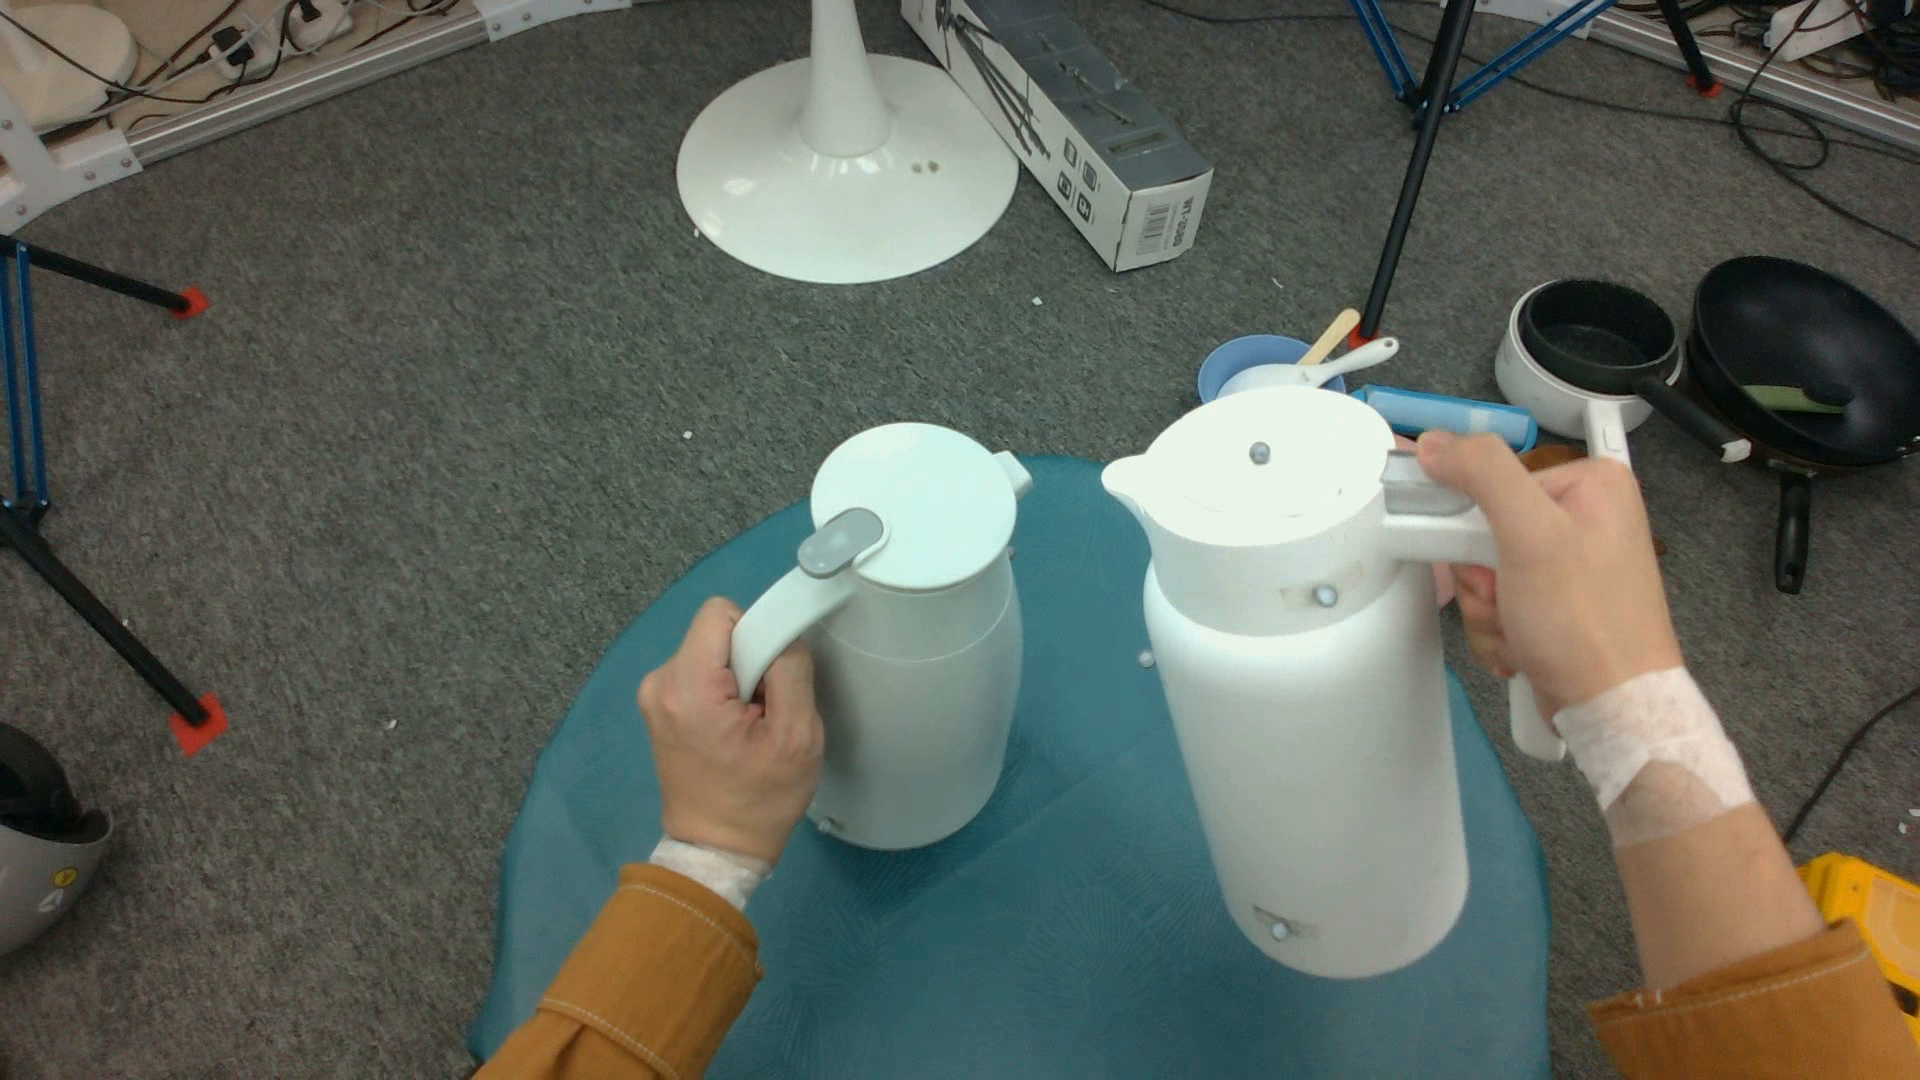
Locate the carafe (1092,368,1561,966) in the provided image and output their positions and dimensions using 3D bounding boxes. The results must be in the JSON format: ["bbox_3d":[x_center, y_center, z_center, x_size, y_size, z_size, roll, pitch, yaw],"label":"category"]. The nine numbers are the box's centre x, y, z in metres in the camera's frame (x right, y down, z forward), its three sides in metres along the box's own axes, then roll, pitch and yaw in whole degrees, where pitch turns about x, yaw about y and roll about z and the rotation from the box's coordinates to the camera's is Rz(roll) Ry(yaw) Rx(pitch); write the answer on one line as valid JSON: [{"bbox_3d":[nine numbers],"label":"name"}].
[{"bbox_3d":[0.165,0.063,0.595,0.172,0.268,0.124,2,39,27],"label":"carafe"}]

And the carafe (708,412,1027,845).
[{"bbox_3d":[-0.047,0.054,0.692,0.168,0.247,0.132,-30,63,-24],"label":"carafe"}]
